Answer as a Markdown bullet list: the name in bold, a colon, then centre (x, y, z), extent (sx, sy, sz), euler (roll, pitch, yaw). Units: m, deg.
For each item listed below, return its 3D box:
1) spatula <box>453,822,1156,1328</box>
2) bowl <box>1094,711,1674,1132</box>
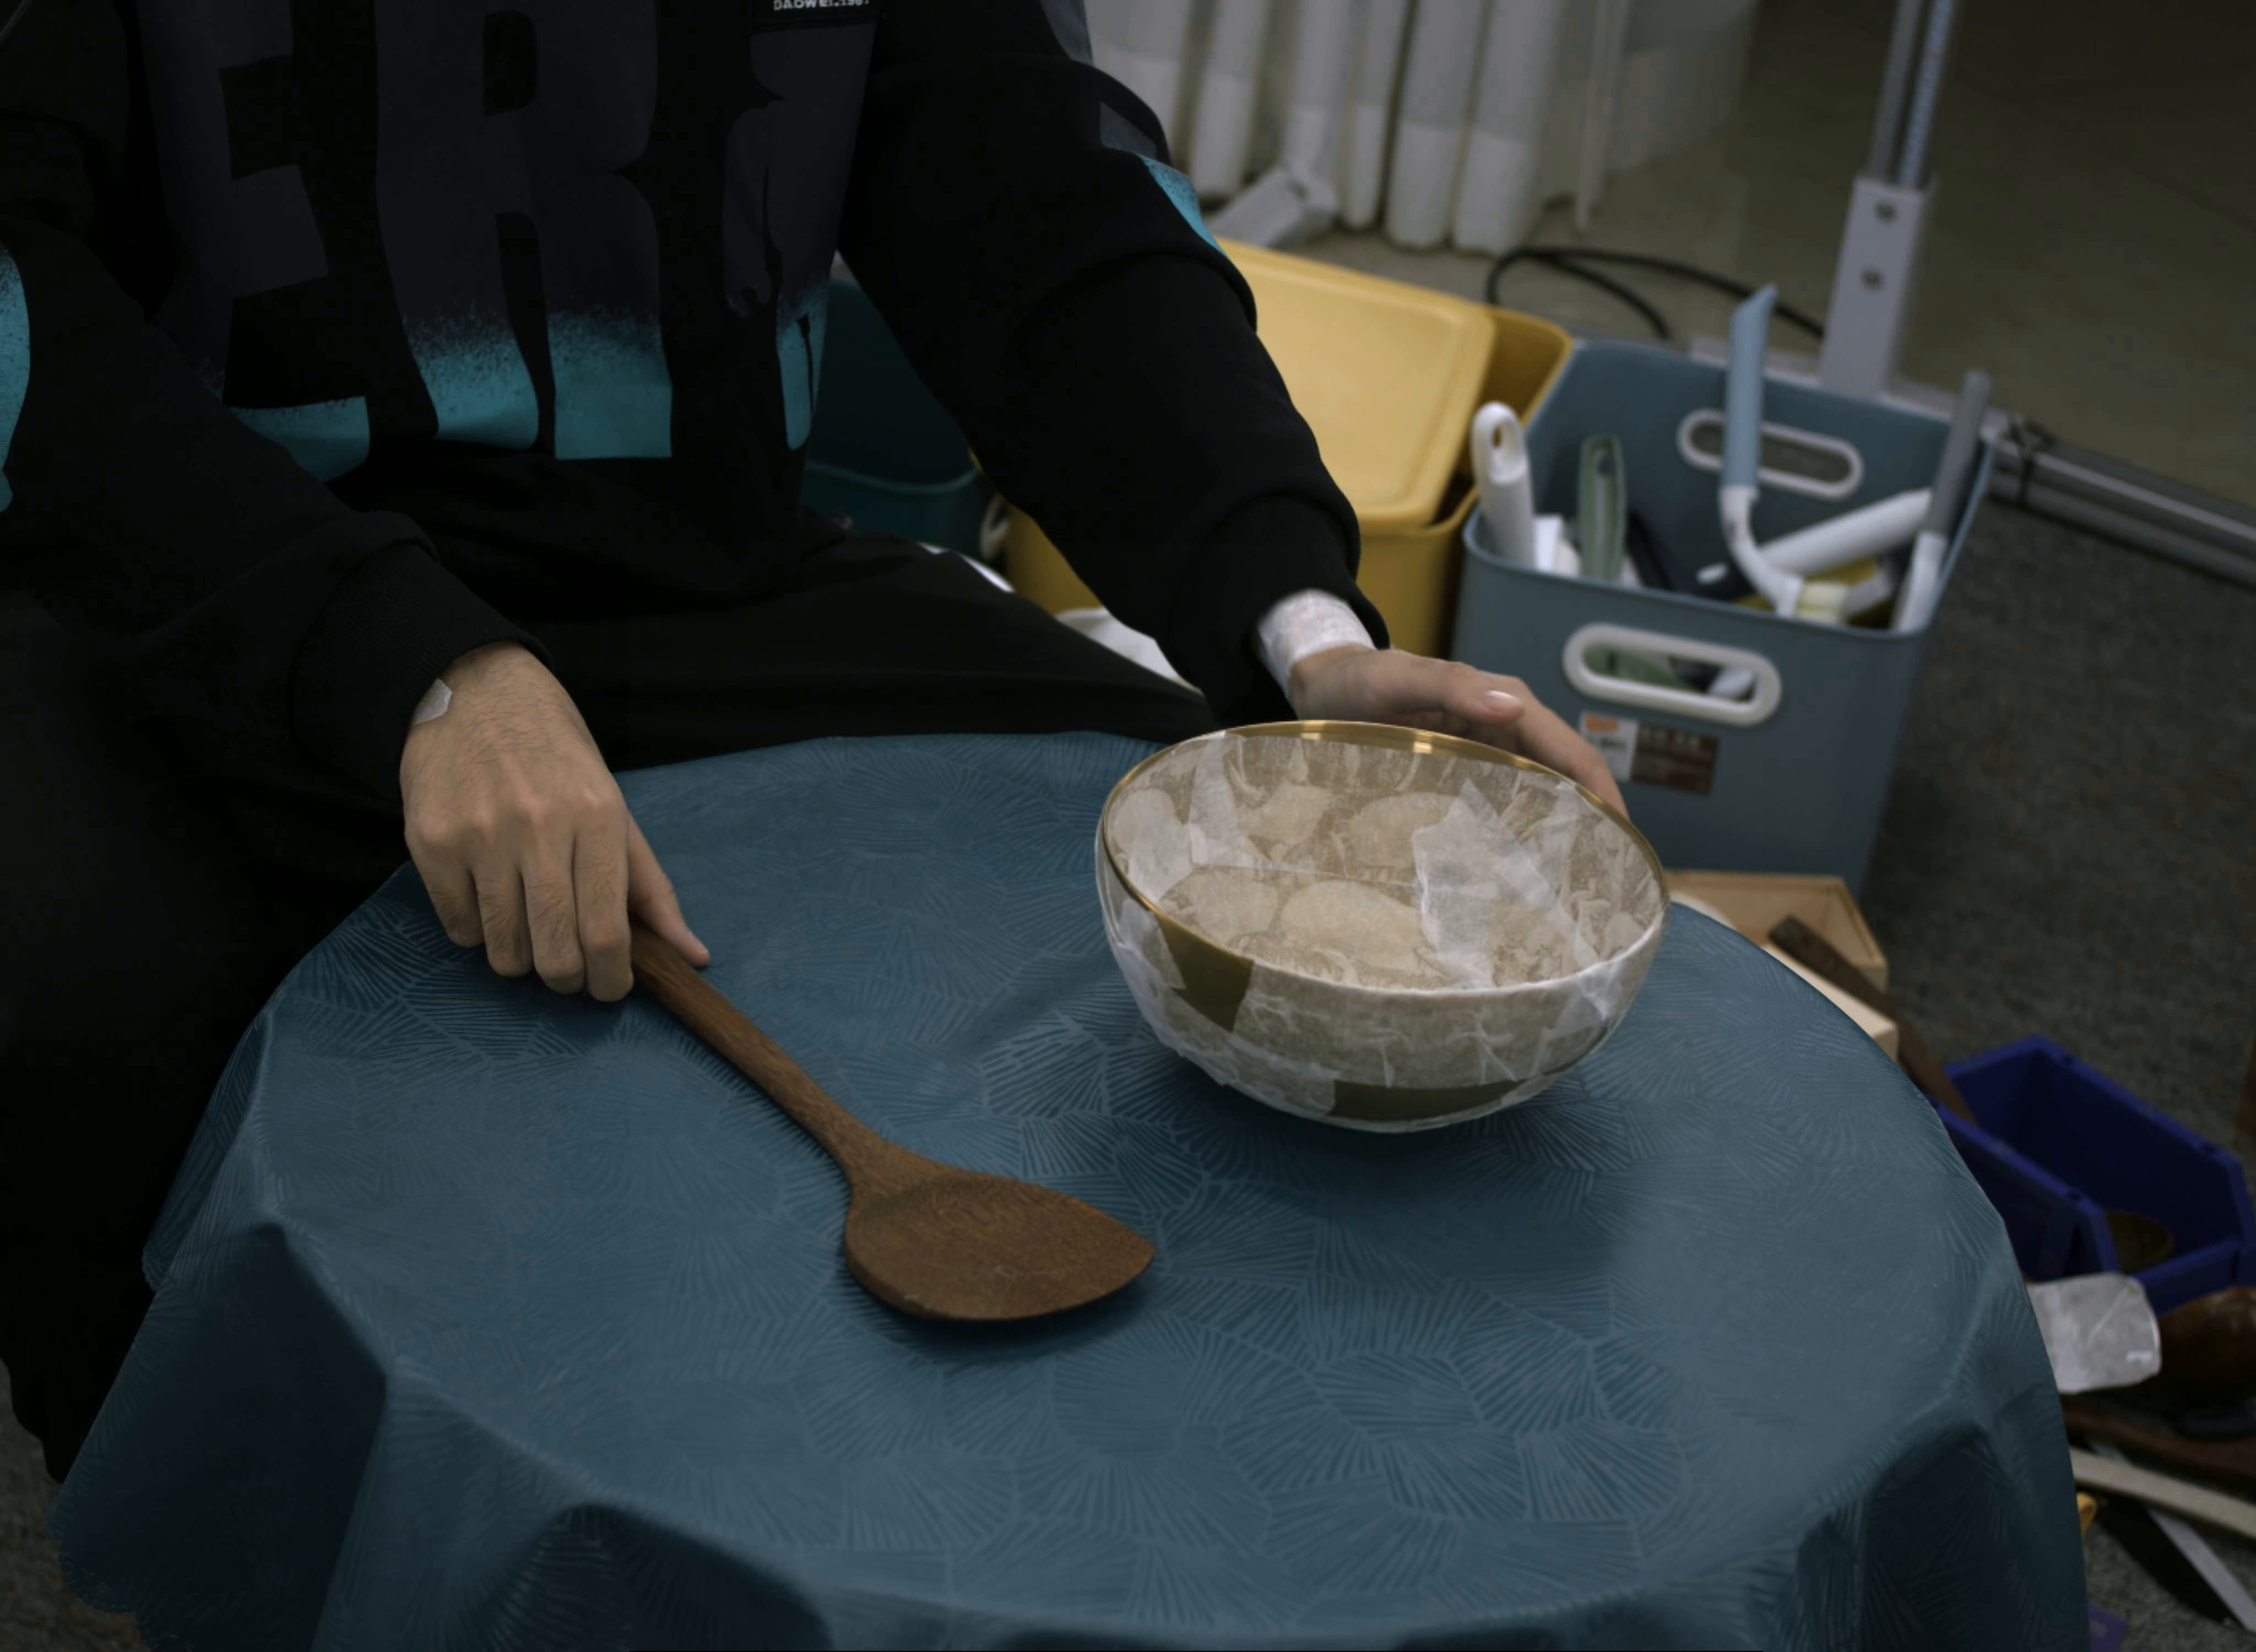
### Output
- **spatula**: centre (-0.132, 0.078, 1.845), extent (0.095, 0.016, 0.389), euler (-13, 33, -34)
- **bowl**: centre (0.087, 0.046, 1.870), extent (0.214, 0.094, 0.216), euler (3, 27, -2)
